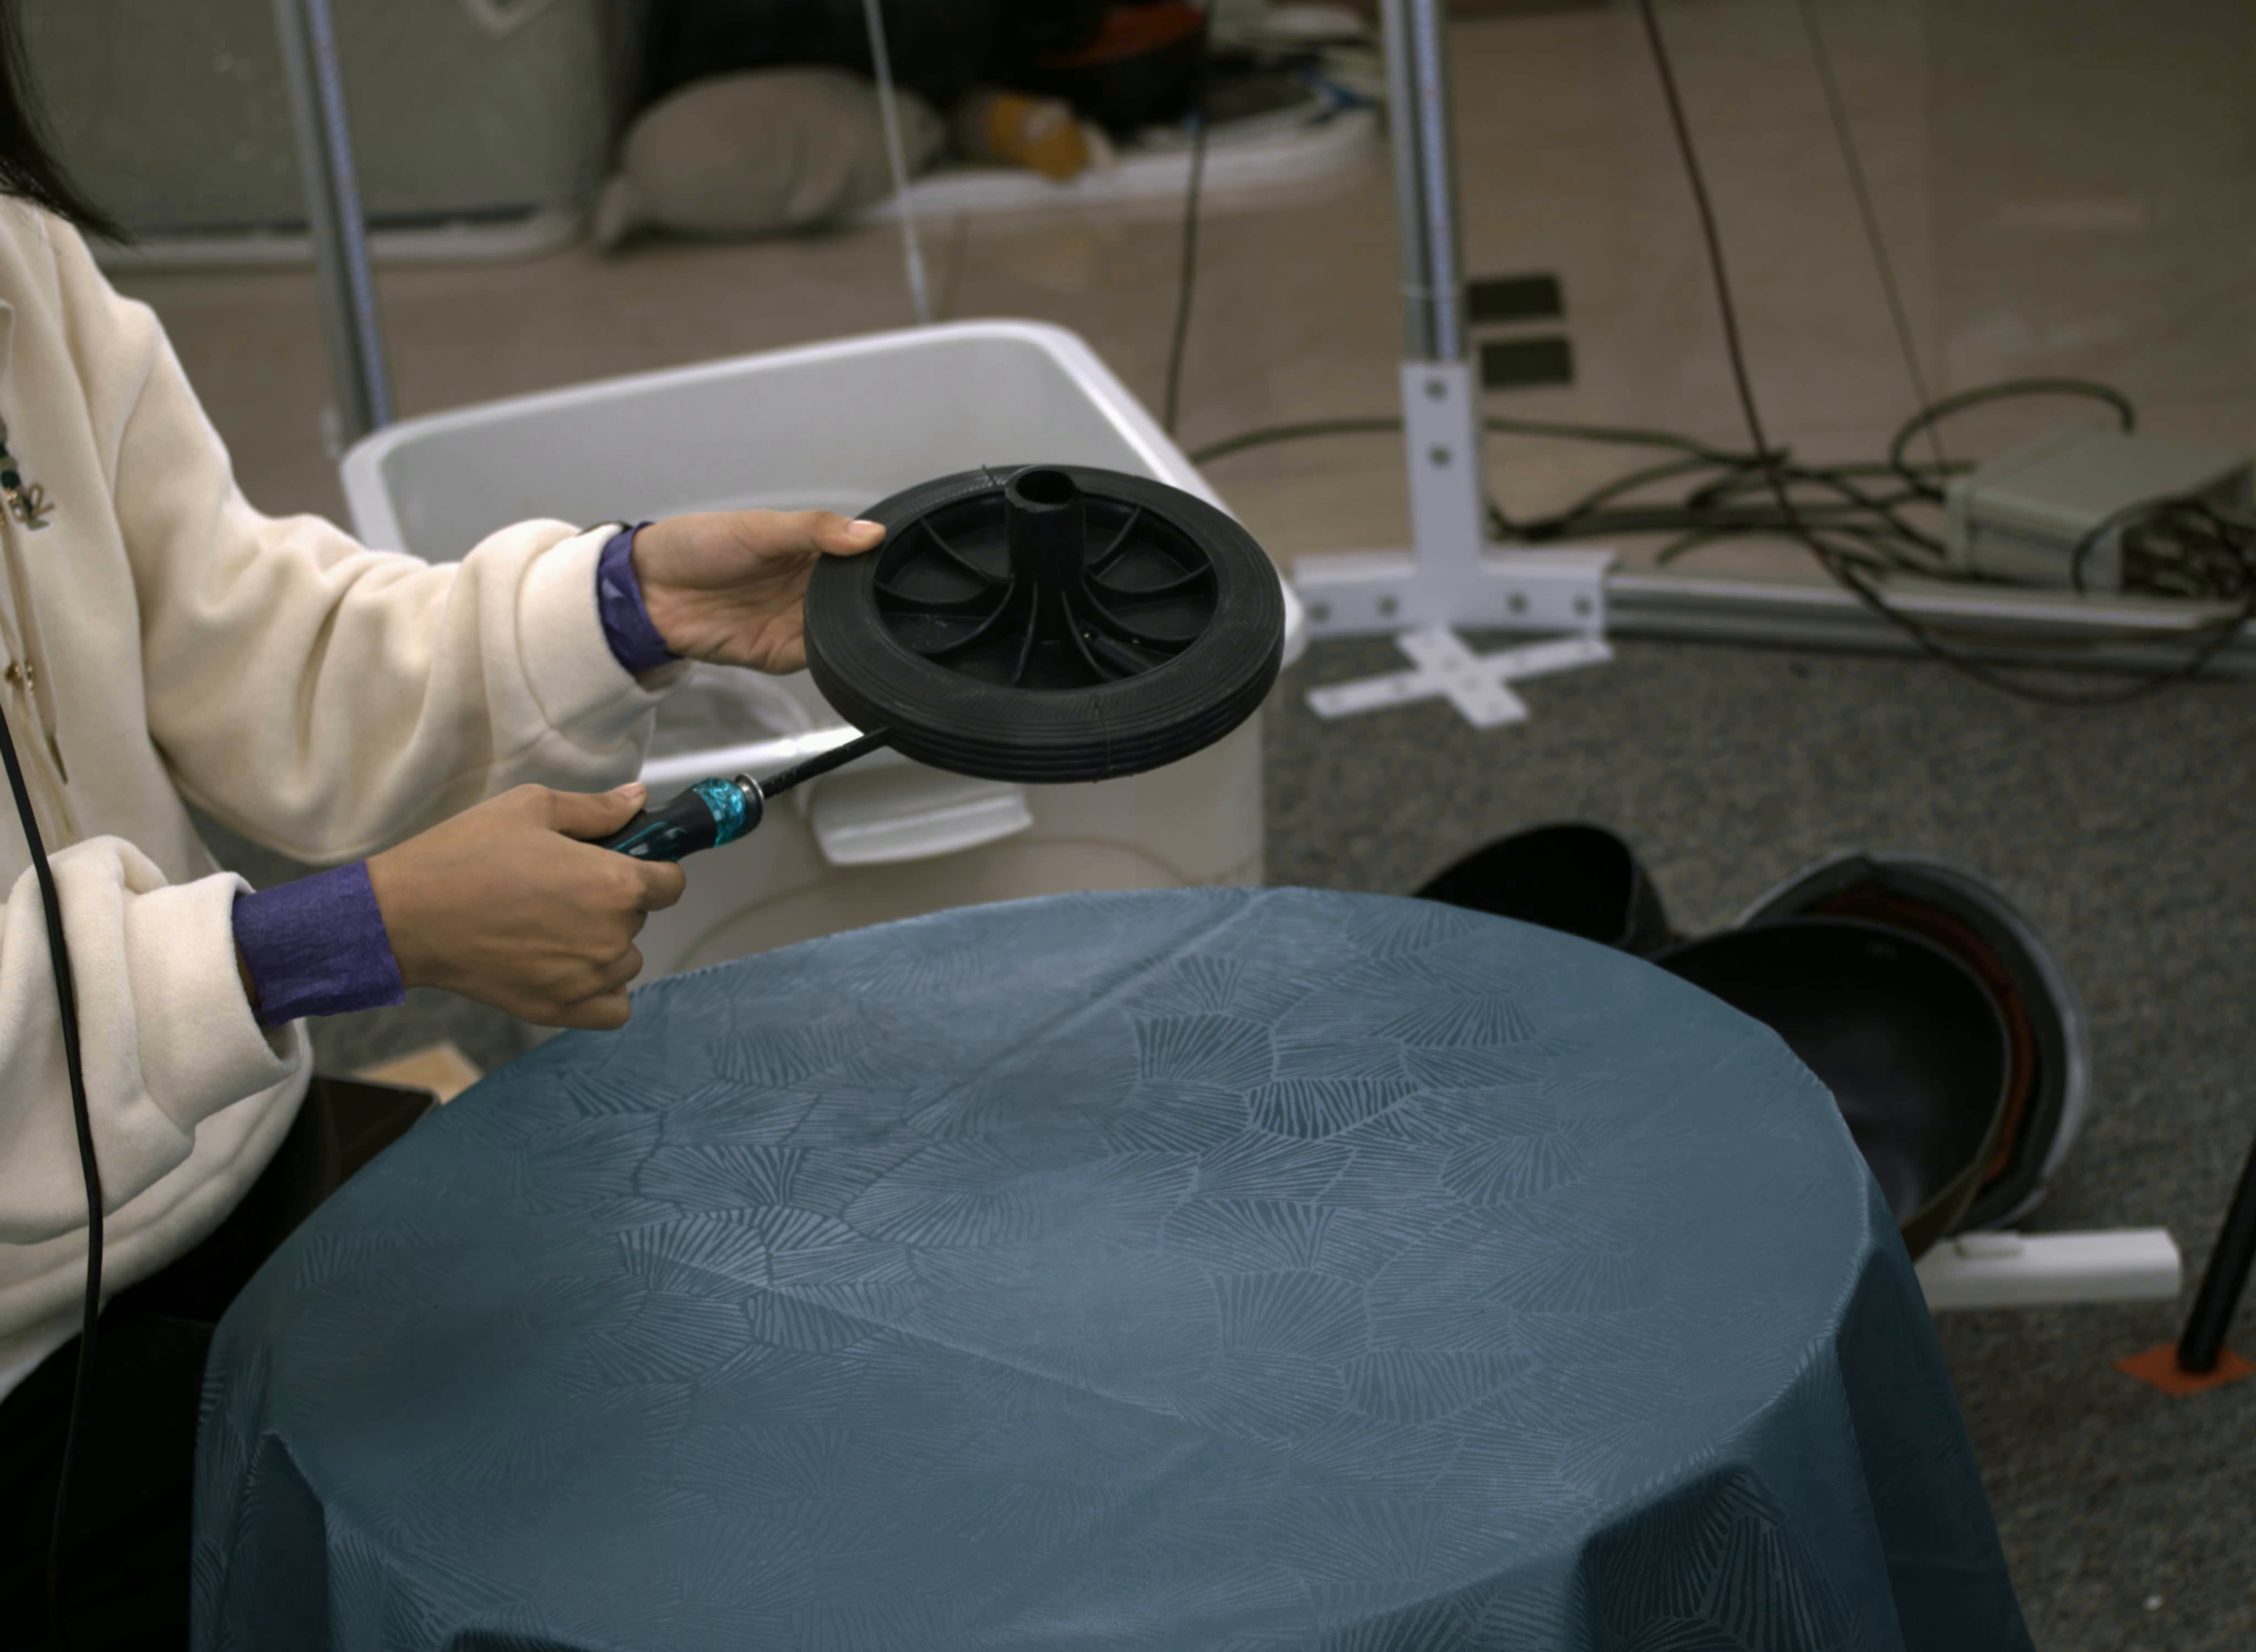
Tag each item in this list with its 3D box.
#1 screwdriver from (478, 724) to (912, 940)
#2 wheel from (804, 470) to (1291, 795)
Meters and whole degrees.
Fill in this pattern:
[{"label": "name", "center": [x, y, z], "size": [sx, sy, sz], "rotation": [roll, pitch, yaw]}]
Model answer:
[{"label": "screwdriver", "center": [-0.156, -0.003, 2.087], "size": [0.188, 0.034, 0.033], "rotation": [-25, 31, -31]}, {"label": "wheel", "center": [-0.030, -0.094, 2.187], "size": [0.189, 0.080, 0.184], "rotation": [16, 41, 13]}]
